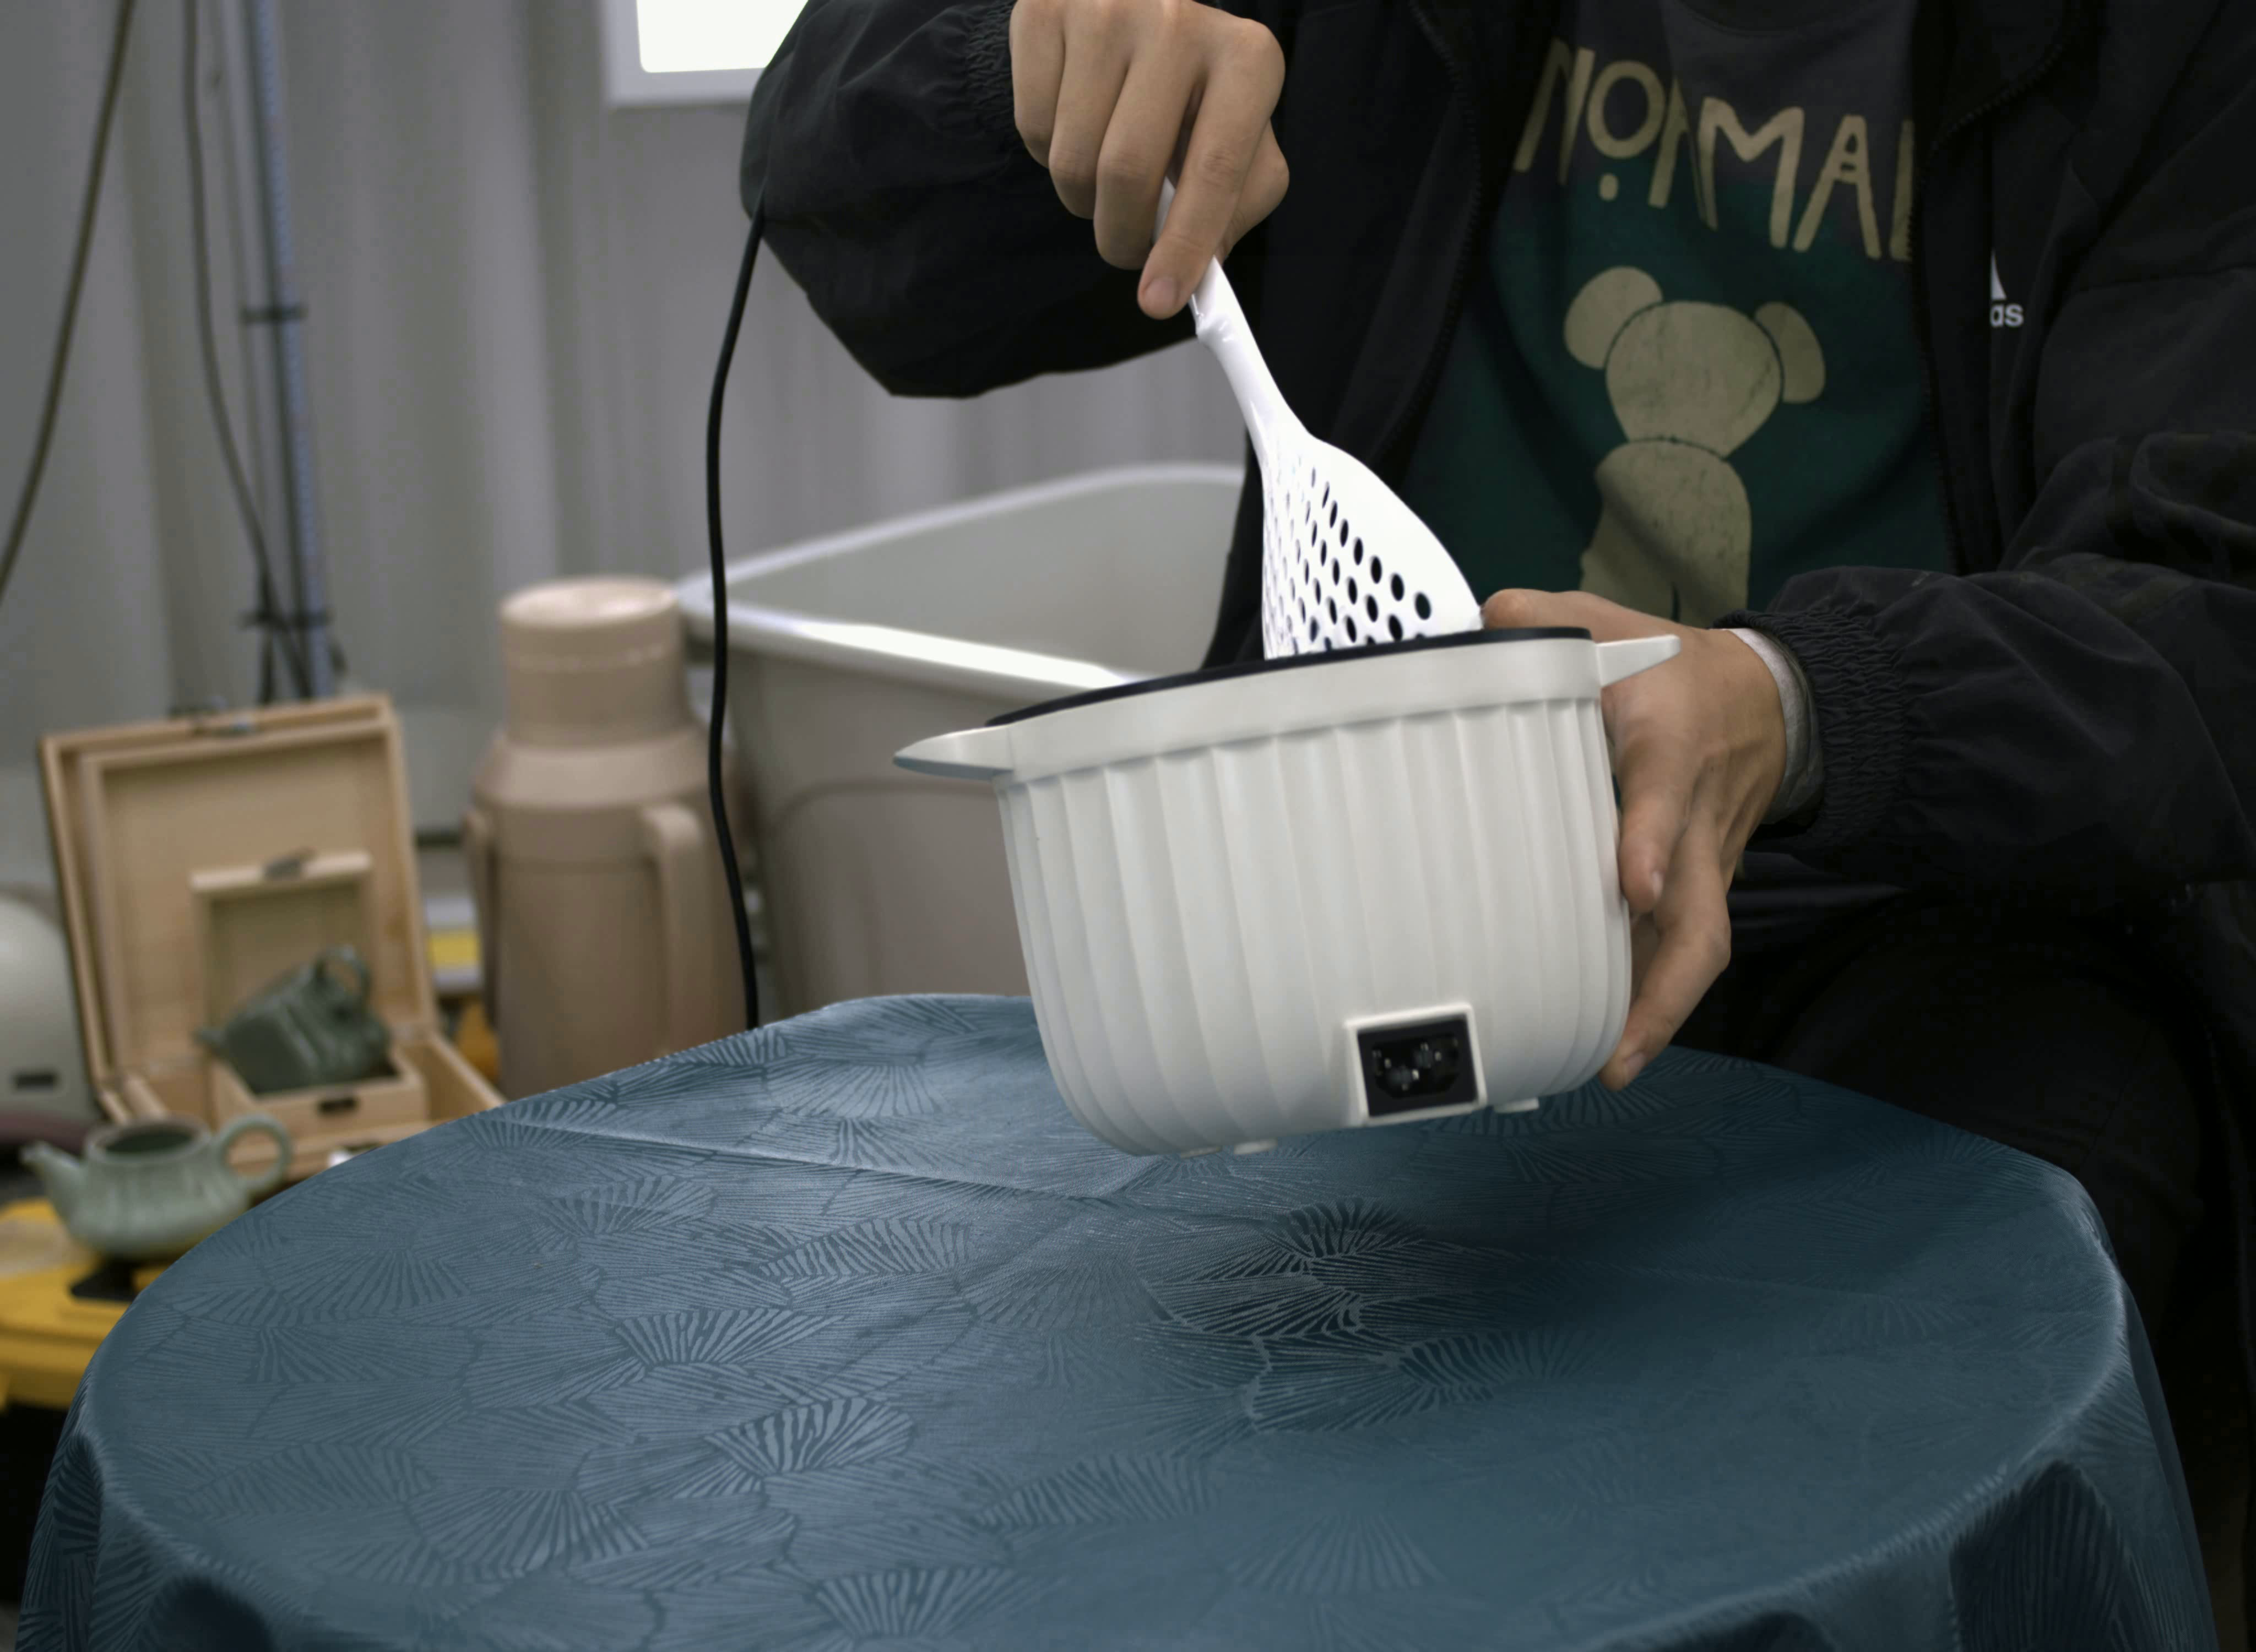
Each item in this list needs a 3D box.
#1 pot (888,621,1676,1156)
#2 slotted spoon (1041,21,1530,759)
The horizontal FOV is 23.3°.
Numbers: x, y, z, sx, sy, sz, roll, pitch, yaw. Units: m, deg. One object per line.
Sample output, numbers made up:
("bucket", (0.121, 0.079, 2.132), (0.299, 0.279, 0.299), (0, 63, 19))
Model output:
("pot", (0.053, 0.022, 1.606), (0.239, 0.143, 0.190), (-7, 0, -11))
("slotted spoon", (0.041, -0.115, 1.675), (0.050, 0.135, 0.353), (-6, 54, -17))
